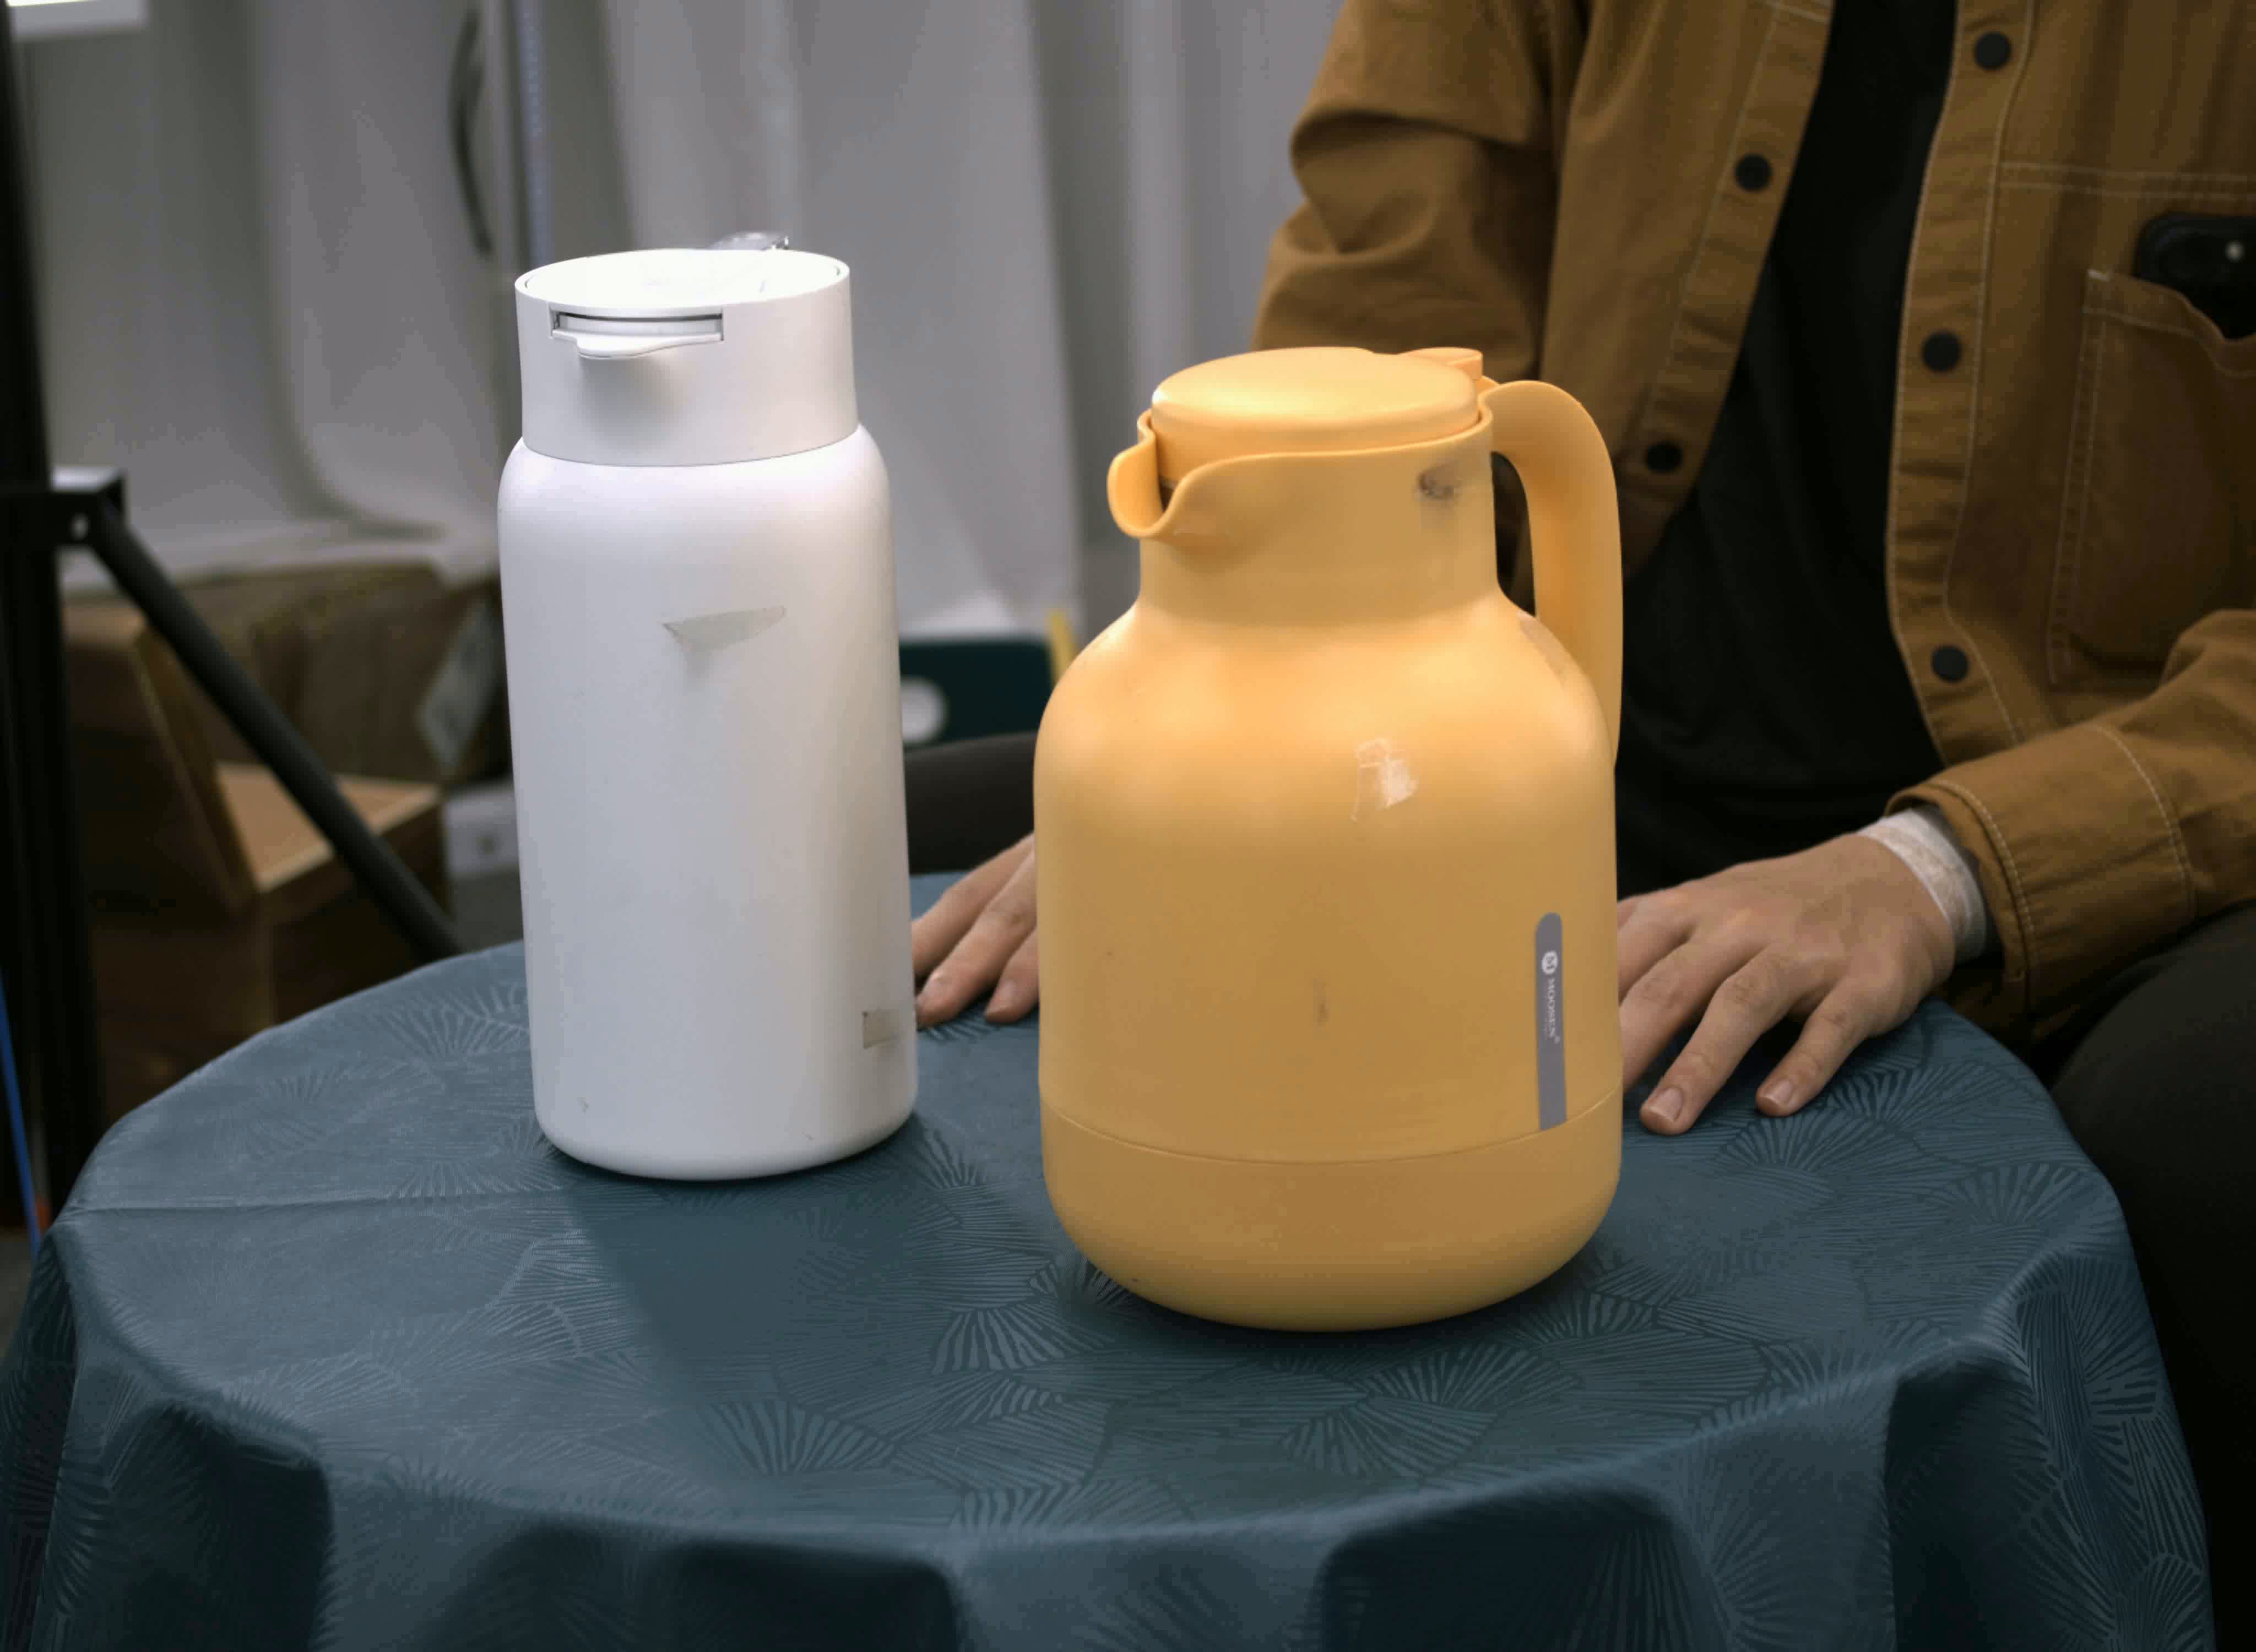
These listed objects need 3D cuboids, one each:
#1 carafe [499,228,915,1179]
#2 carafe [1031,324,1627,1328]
[{"bbox_3d":[-0.123,-0.041,1.612,0.125,0.269,0.171,0,15,16],"label":"carafe"},{"bbox_3d":[0.068,-0.007,1.468,0.198,0.260,0.167,-18,25,-41],"label":"carafe"}]
